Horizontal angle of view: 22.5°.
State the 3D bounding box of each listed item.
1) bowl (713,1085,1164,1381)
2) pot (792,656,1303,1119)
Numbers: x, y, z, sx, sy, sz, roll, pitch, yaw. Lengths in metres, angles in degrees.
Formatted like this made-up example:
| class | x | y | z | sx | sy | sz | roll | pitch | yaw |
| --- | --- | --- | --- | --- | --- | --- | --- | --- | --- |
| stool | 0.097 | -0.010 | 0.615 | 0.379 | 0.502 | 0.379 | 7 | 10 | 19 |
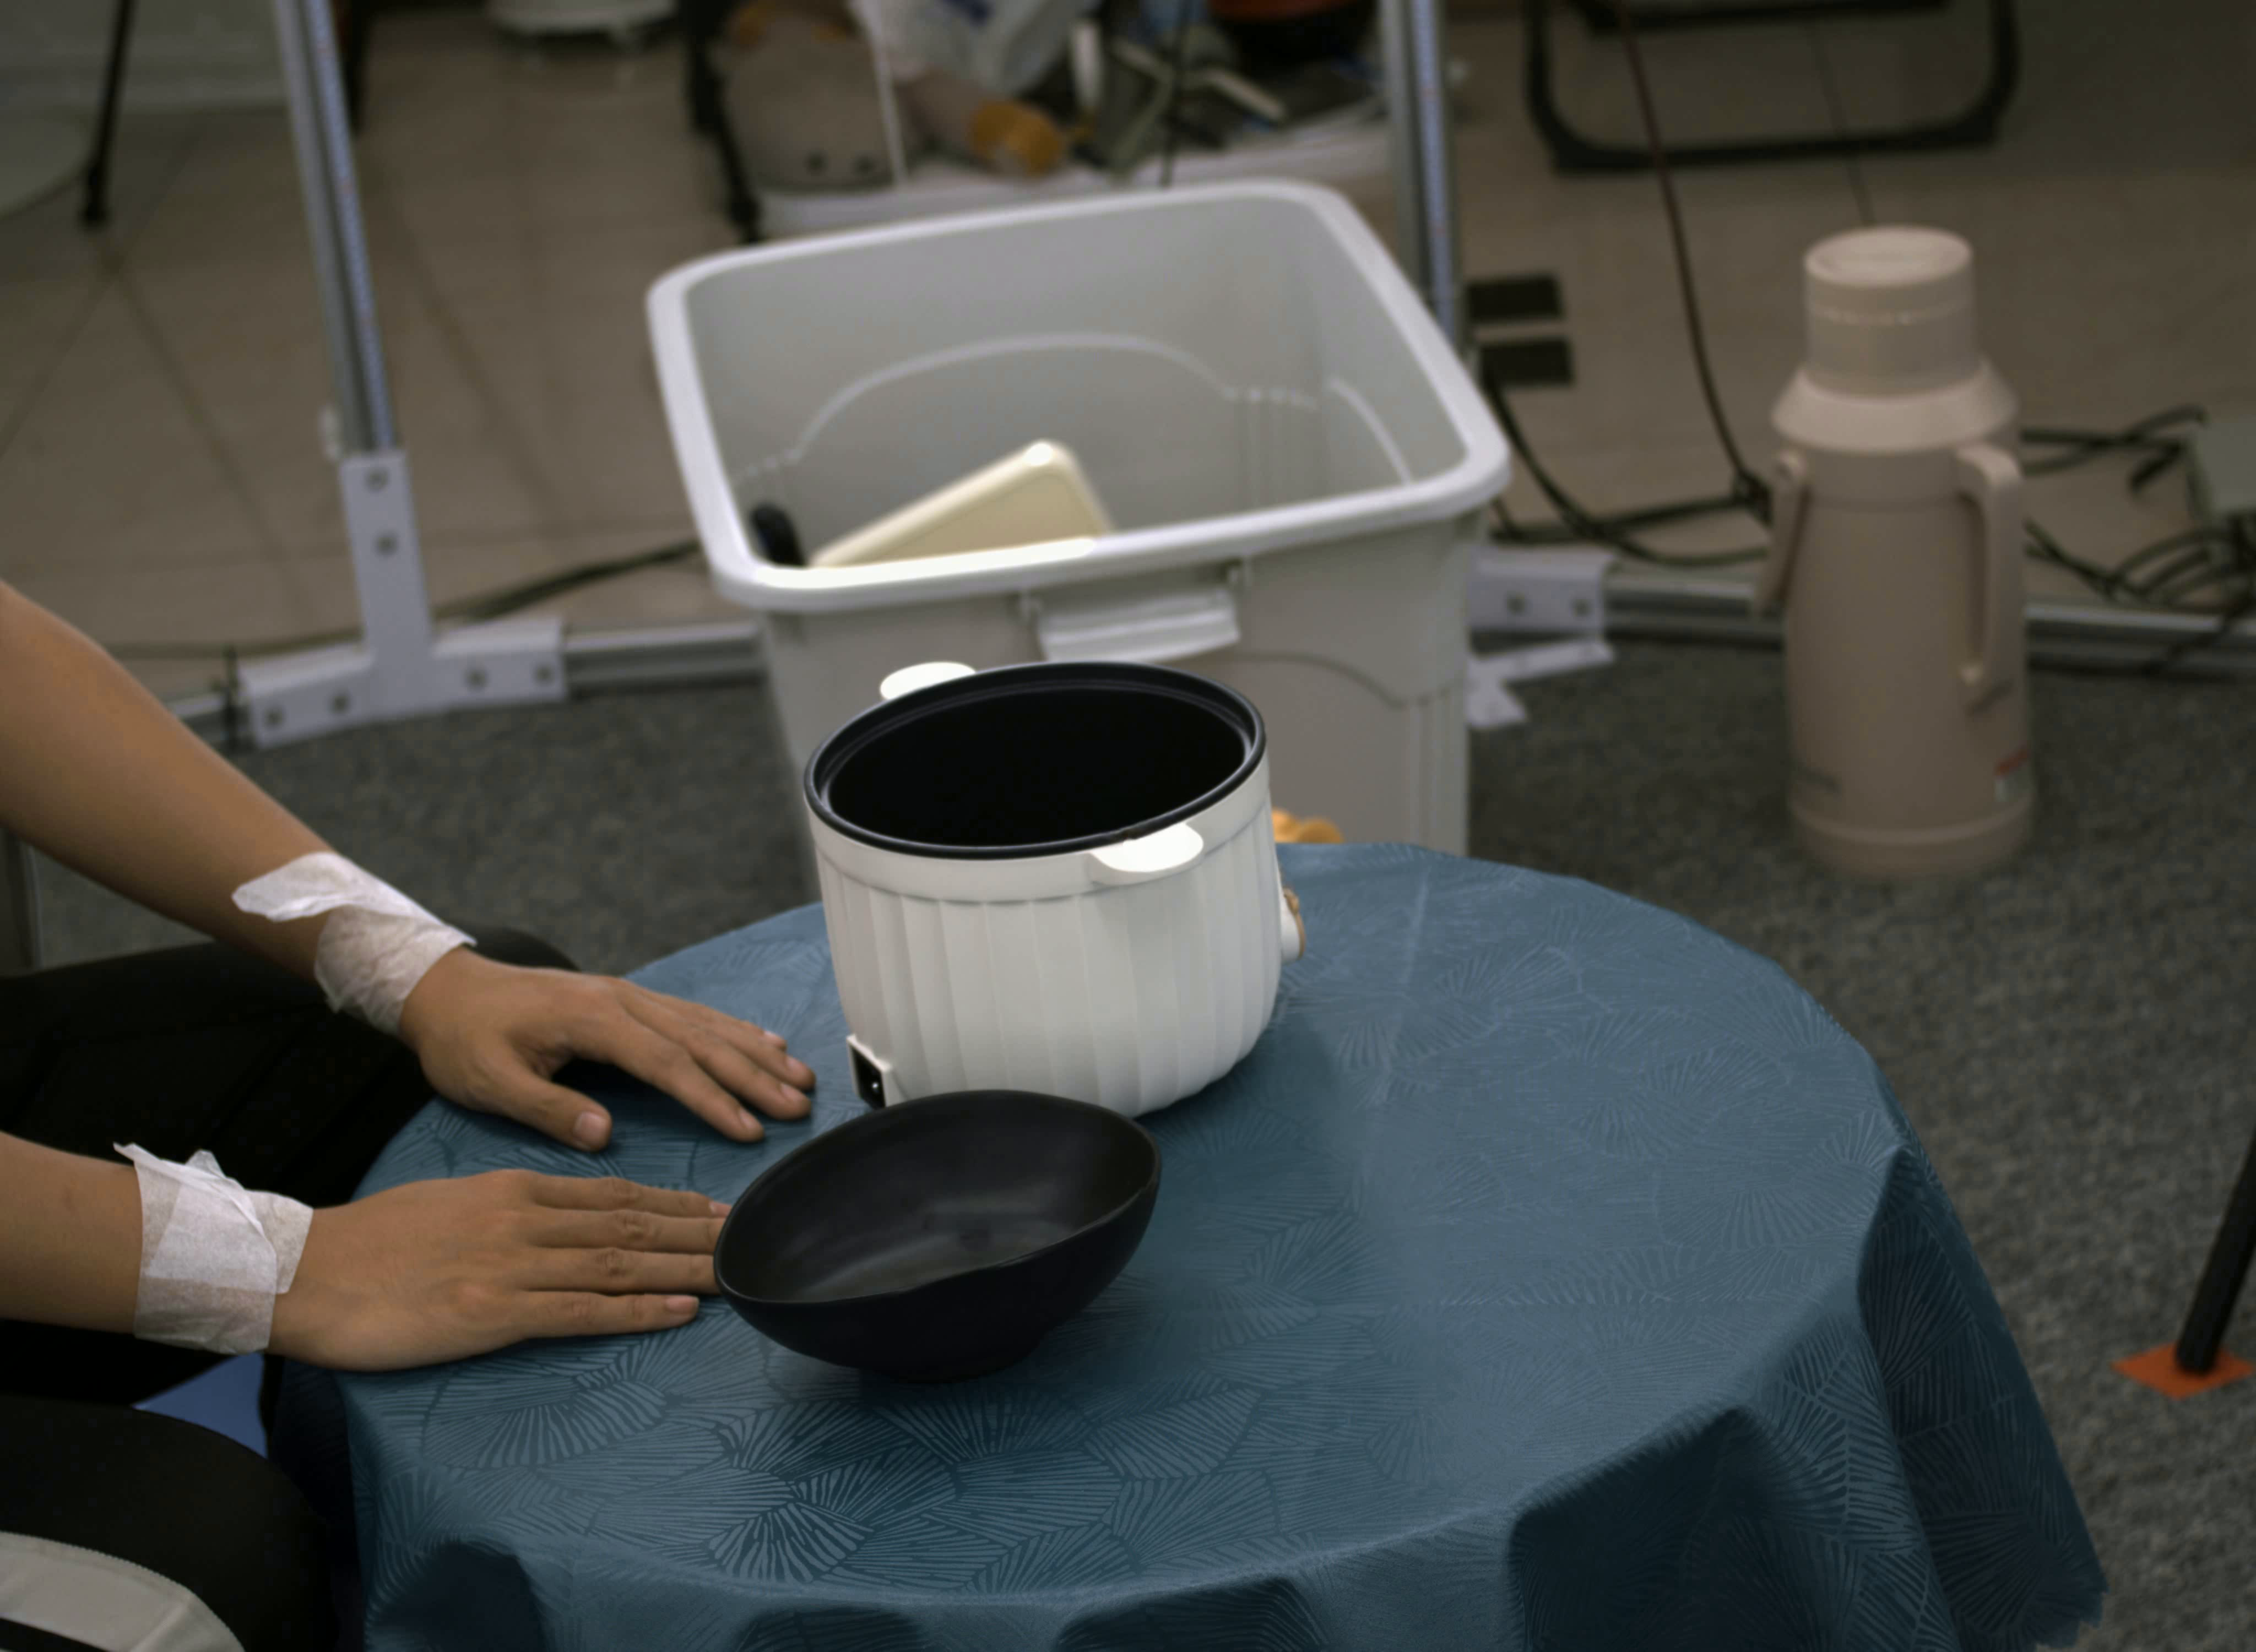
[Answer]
| class | x | y | z | sx | sy | sz | roll | pitch | yaw |
| --- | --- | --- | --- | --- | --- | --- | --- | --- | --- |
| bowl | -0.064 | 0.157 | 2.051 | 0.169 | 0.068 | 0.136 | -18 | 27 | -22 |
| pot | -0.026 | 0.029 | 2.227 | 0.189 | 0.145 | 0.237 | -21 | 29 | -20 |
